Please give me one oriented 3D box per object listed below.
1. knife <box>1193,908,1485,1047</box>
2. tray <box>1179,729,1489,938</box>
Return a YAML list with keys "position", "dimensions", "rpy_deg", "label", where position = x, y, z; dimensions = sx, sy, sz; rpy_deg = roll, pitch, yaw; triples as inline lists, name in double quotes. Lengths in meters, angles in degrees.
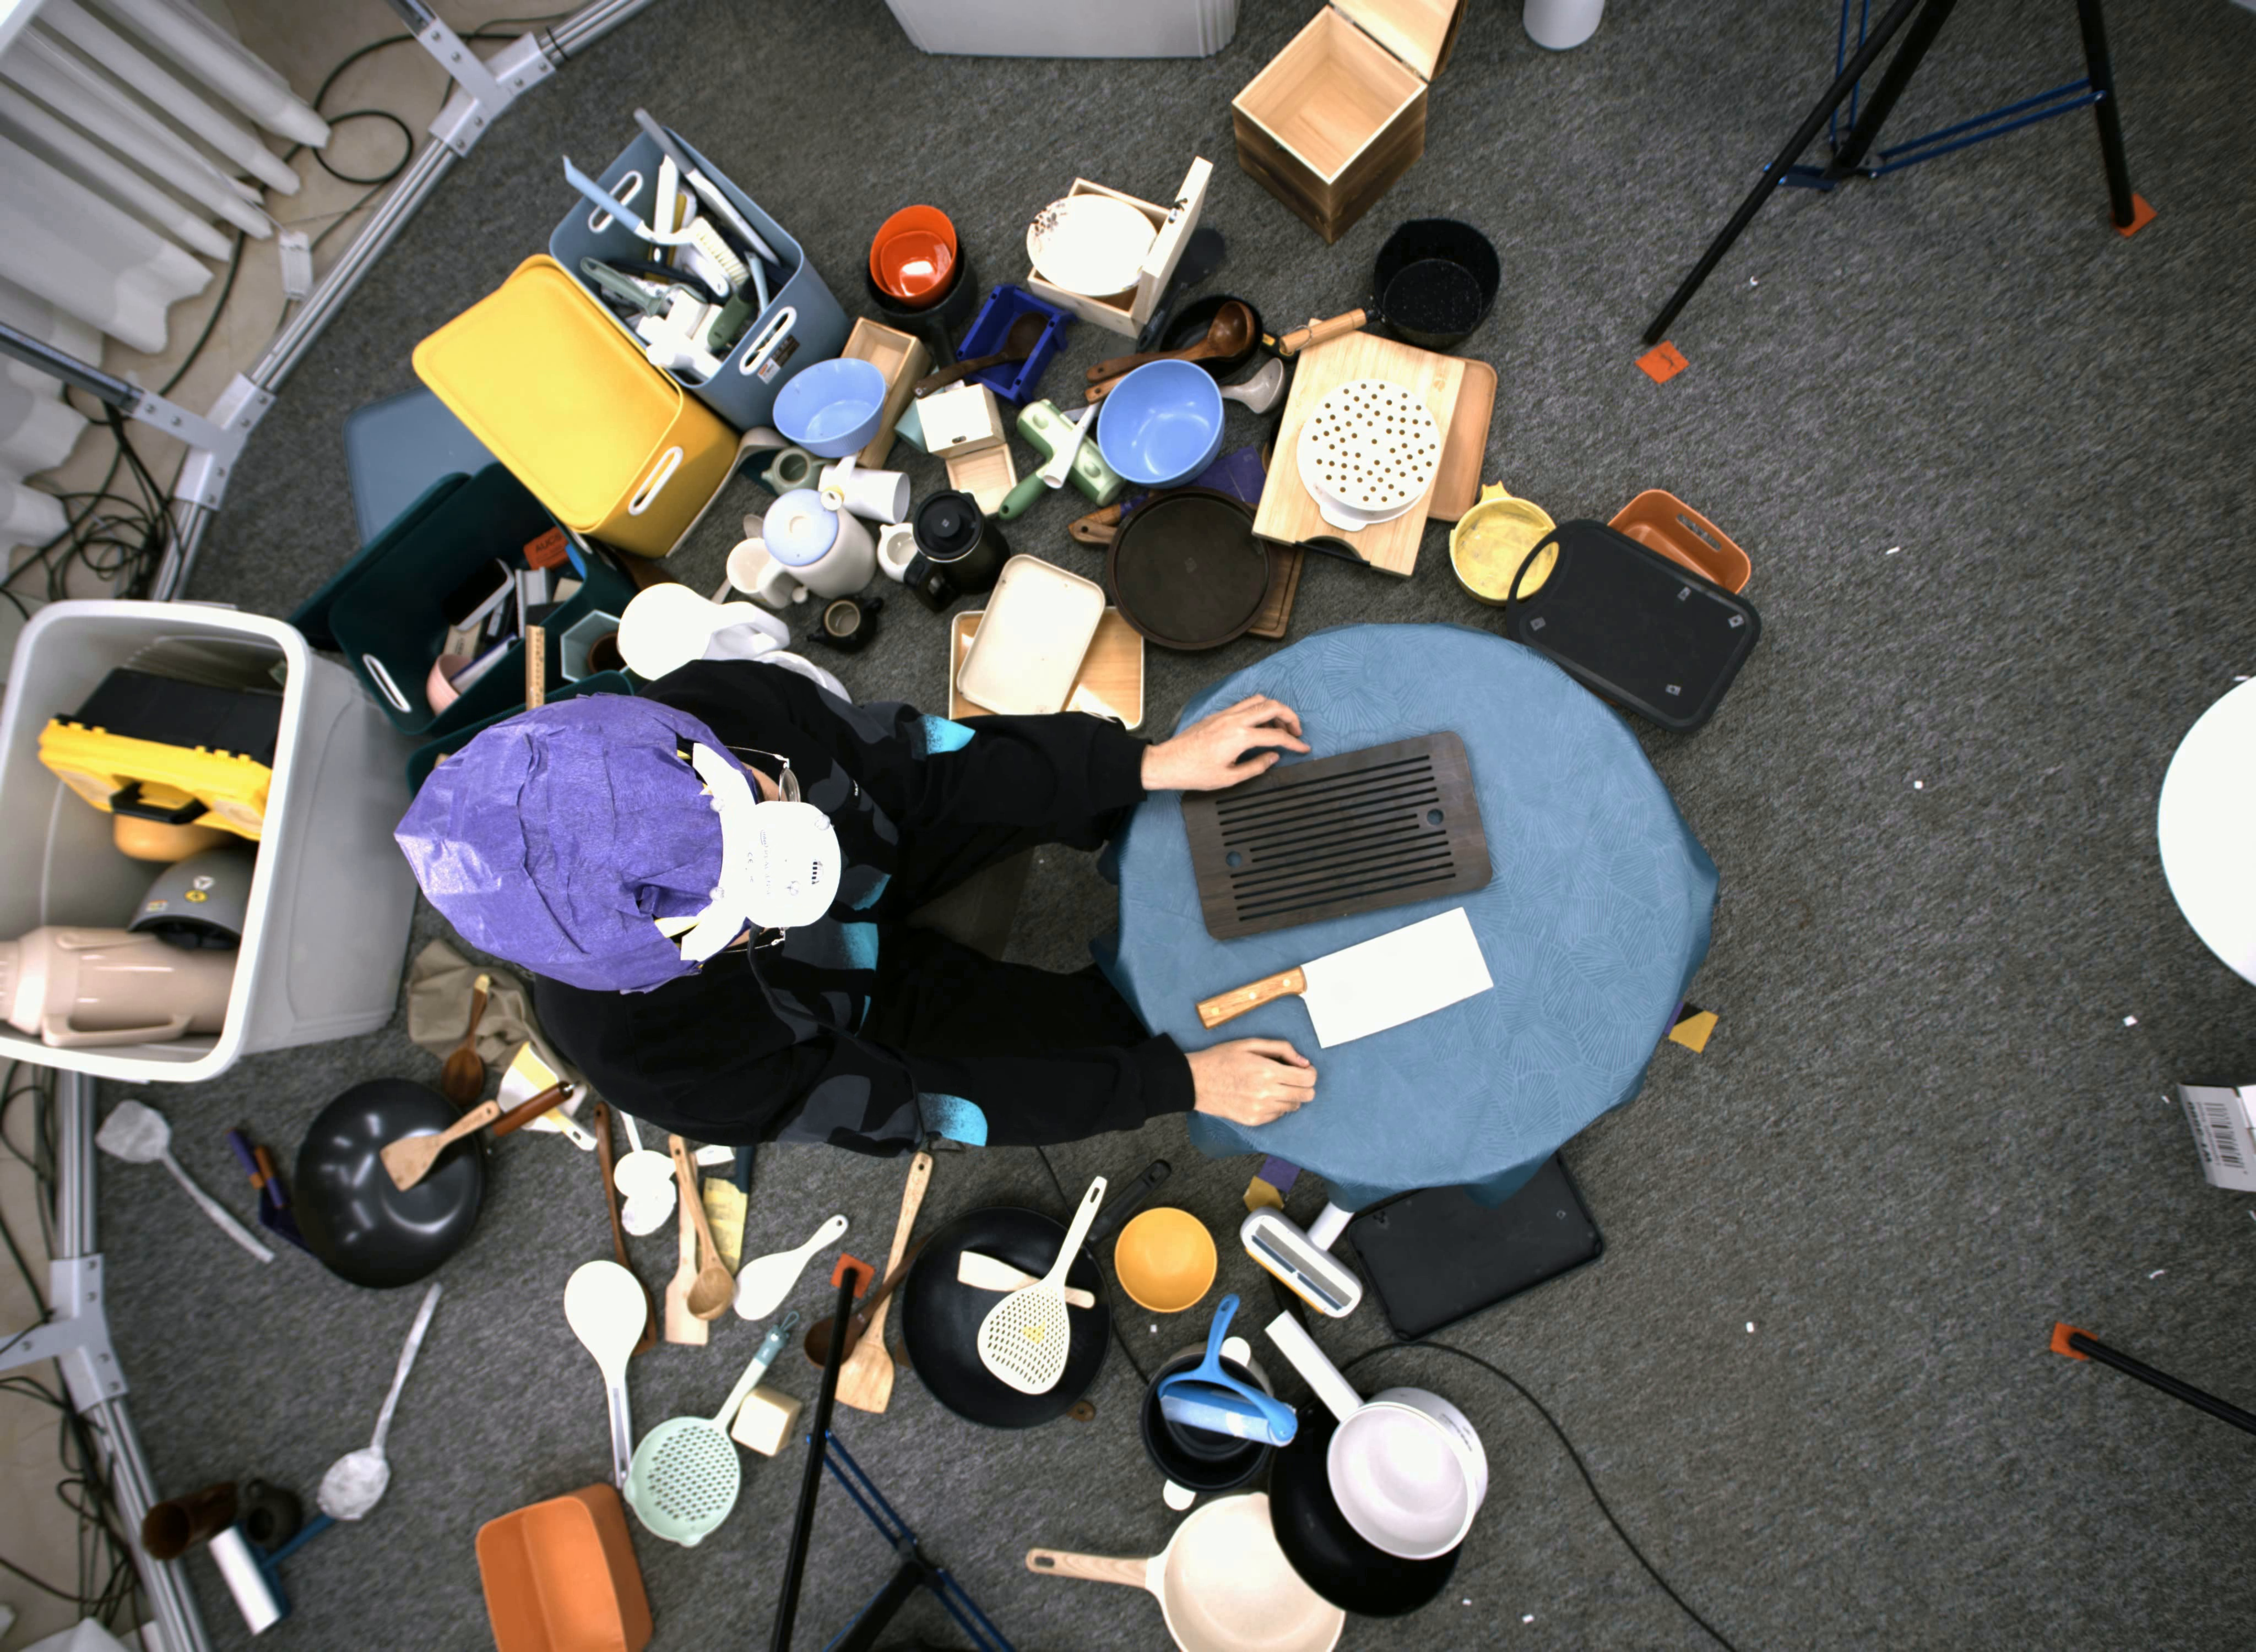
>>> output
- position: [0.223, 0.176, 1.455]
  dimensions: [0.307, 0.021, 0.092]
  rpy_deg: [-21, 85, 6]
  label: "knife"
- position: [0.216, 0.008, 1.464]
  dimensions: [0.307, 0.018, 0.169]
  rpy_deg: [-12, 85, 10]
  label: "tray"
